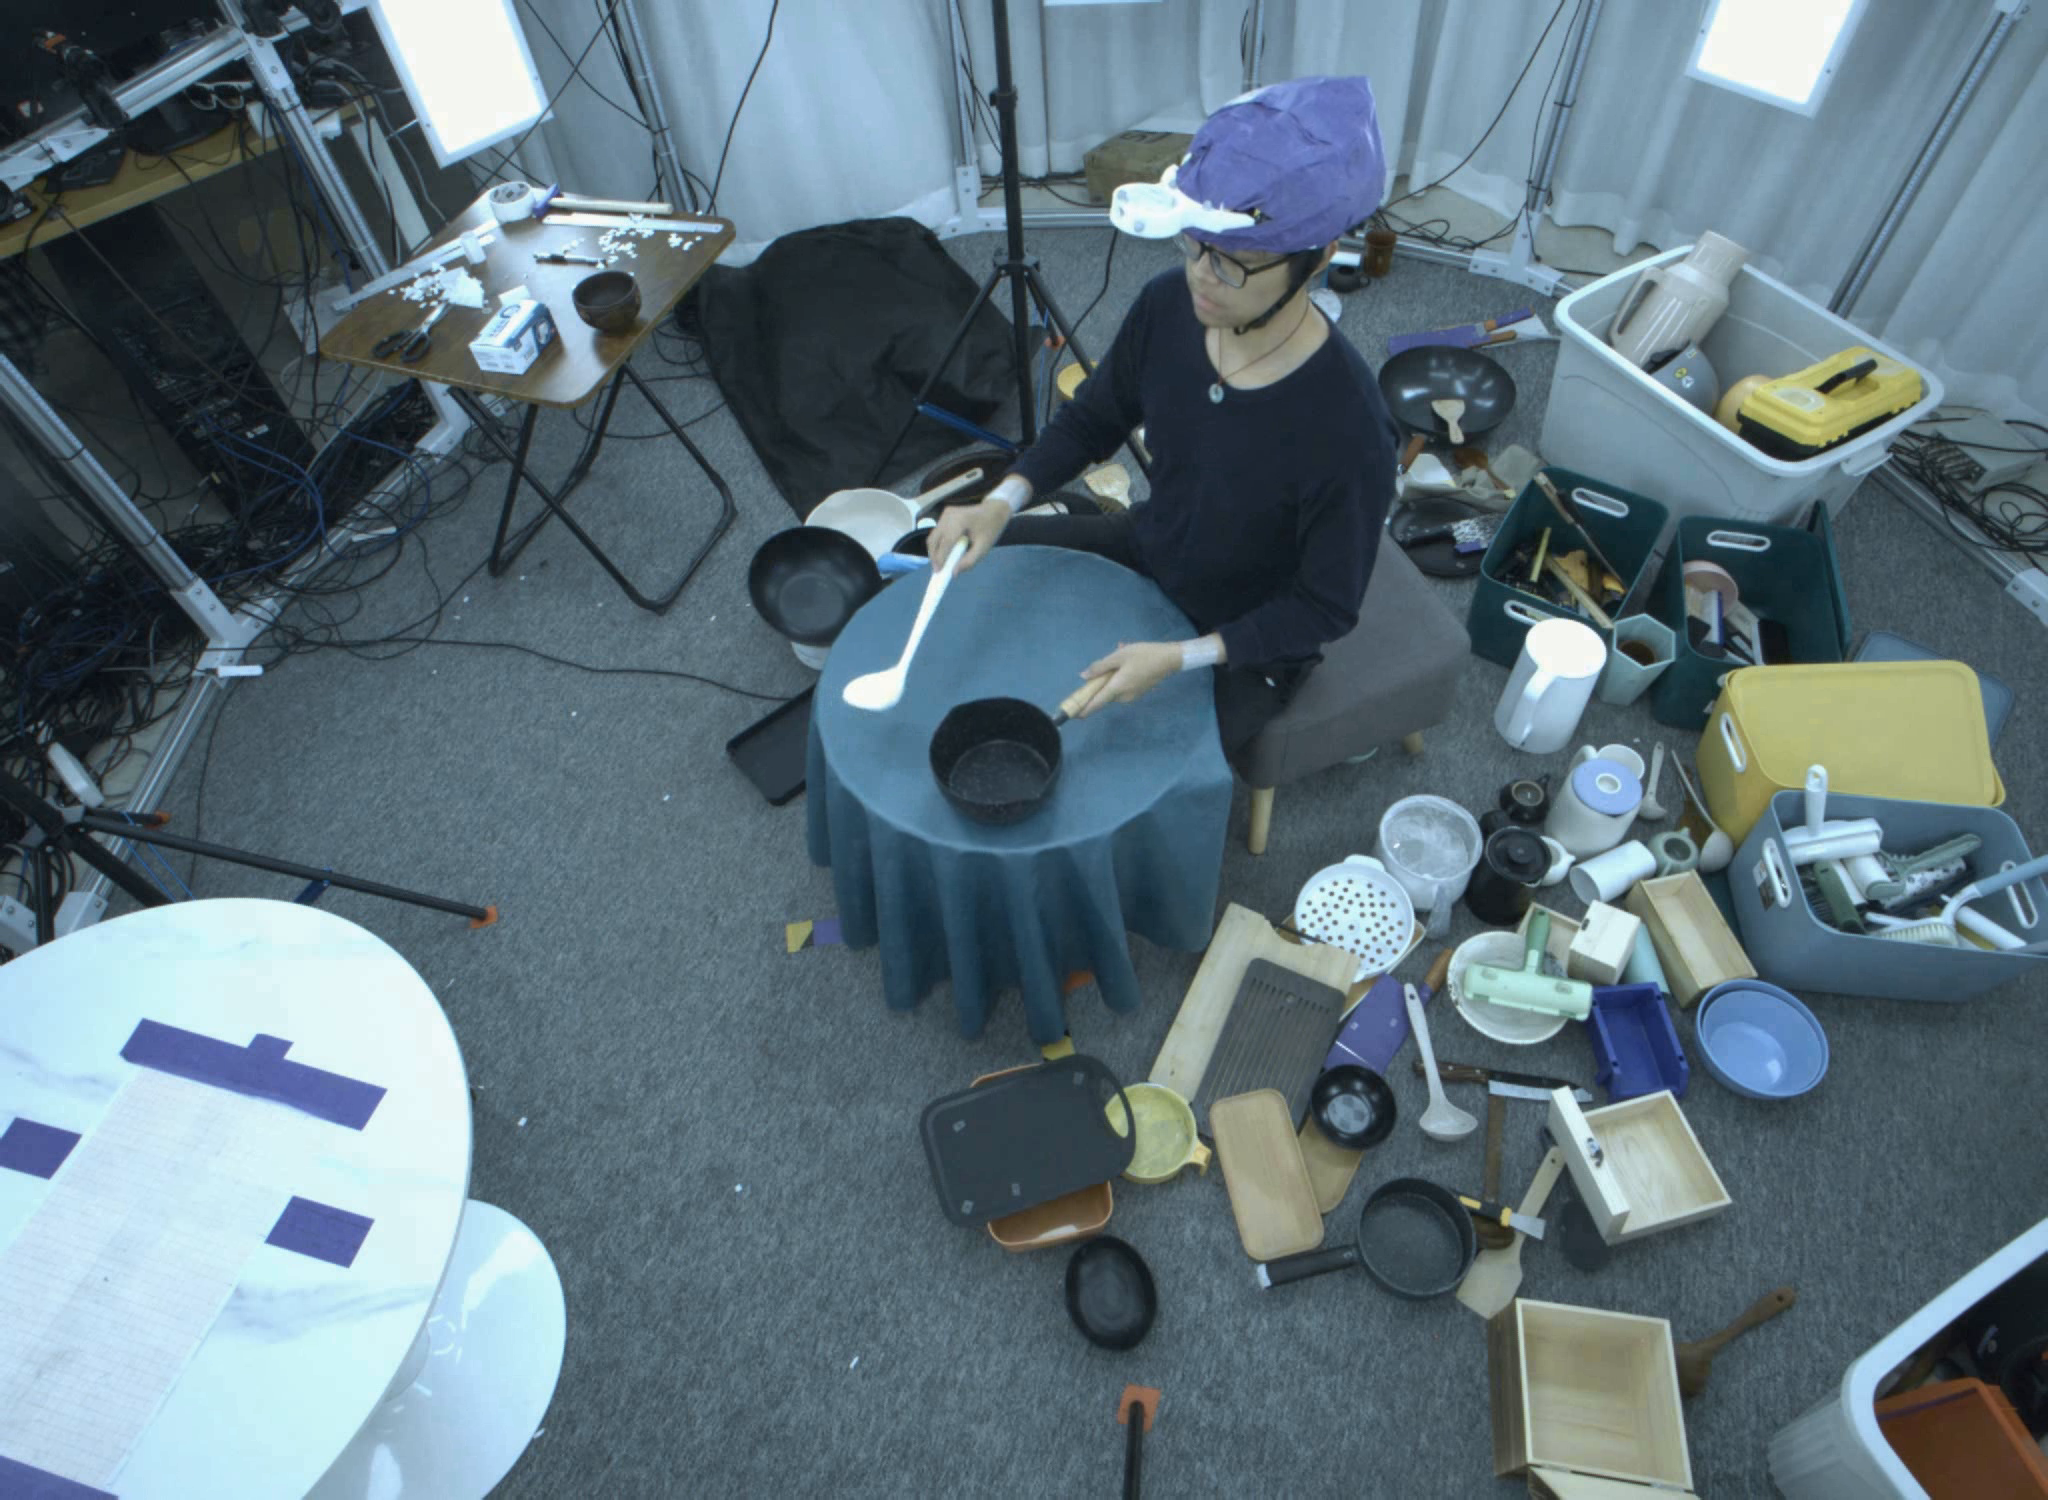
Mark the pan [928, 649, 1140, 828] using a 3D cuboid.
[{"bbox_3d":[0.026,-0.025,1.737,0.345,0.109,0.203,-34,59,-18],"label":"pan"}]

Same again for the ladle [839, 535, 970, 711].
[{"bbox_3d":[-0.169,-0.184,1.758,0.088,0.071,0.293,23,86,48],"label":"ladle"}]
